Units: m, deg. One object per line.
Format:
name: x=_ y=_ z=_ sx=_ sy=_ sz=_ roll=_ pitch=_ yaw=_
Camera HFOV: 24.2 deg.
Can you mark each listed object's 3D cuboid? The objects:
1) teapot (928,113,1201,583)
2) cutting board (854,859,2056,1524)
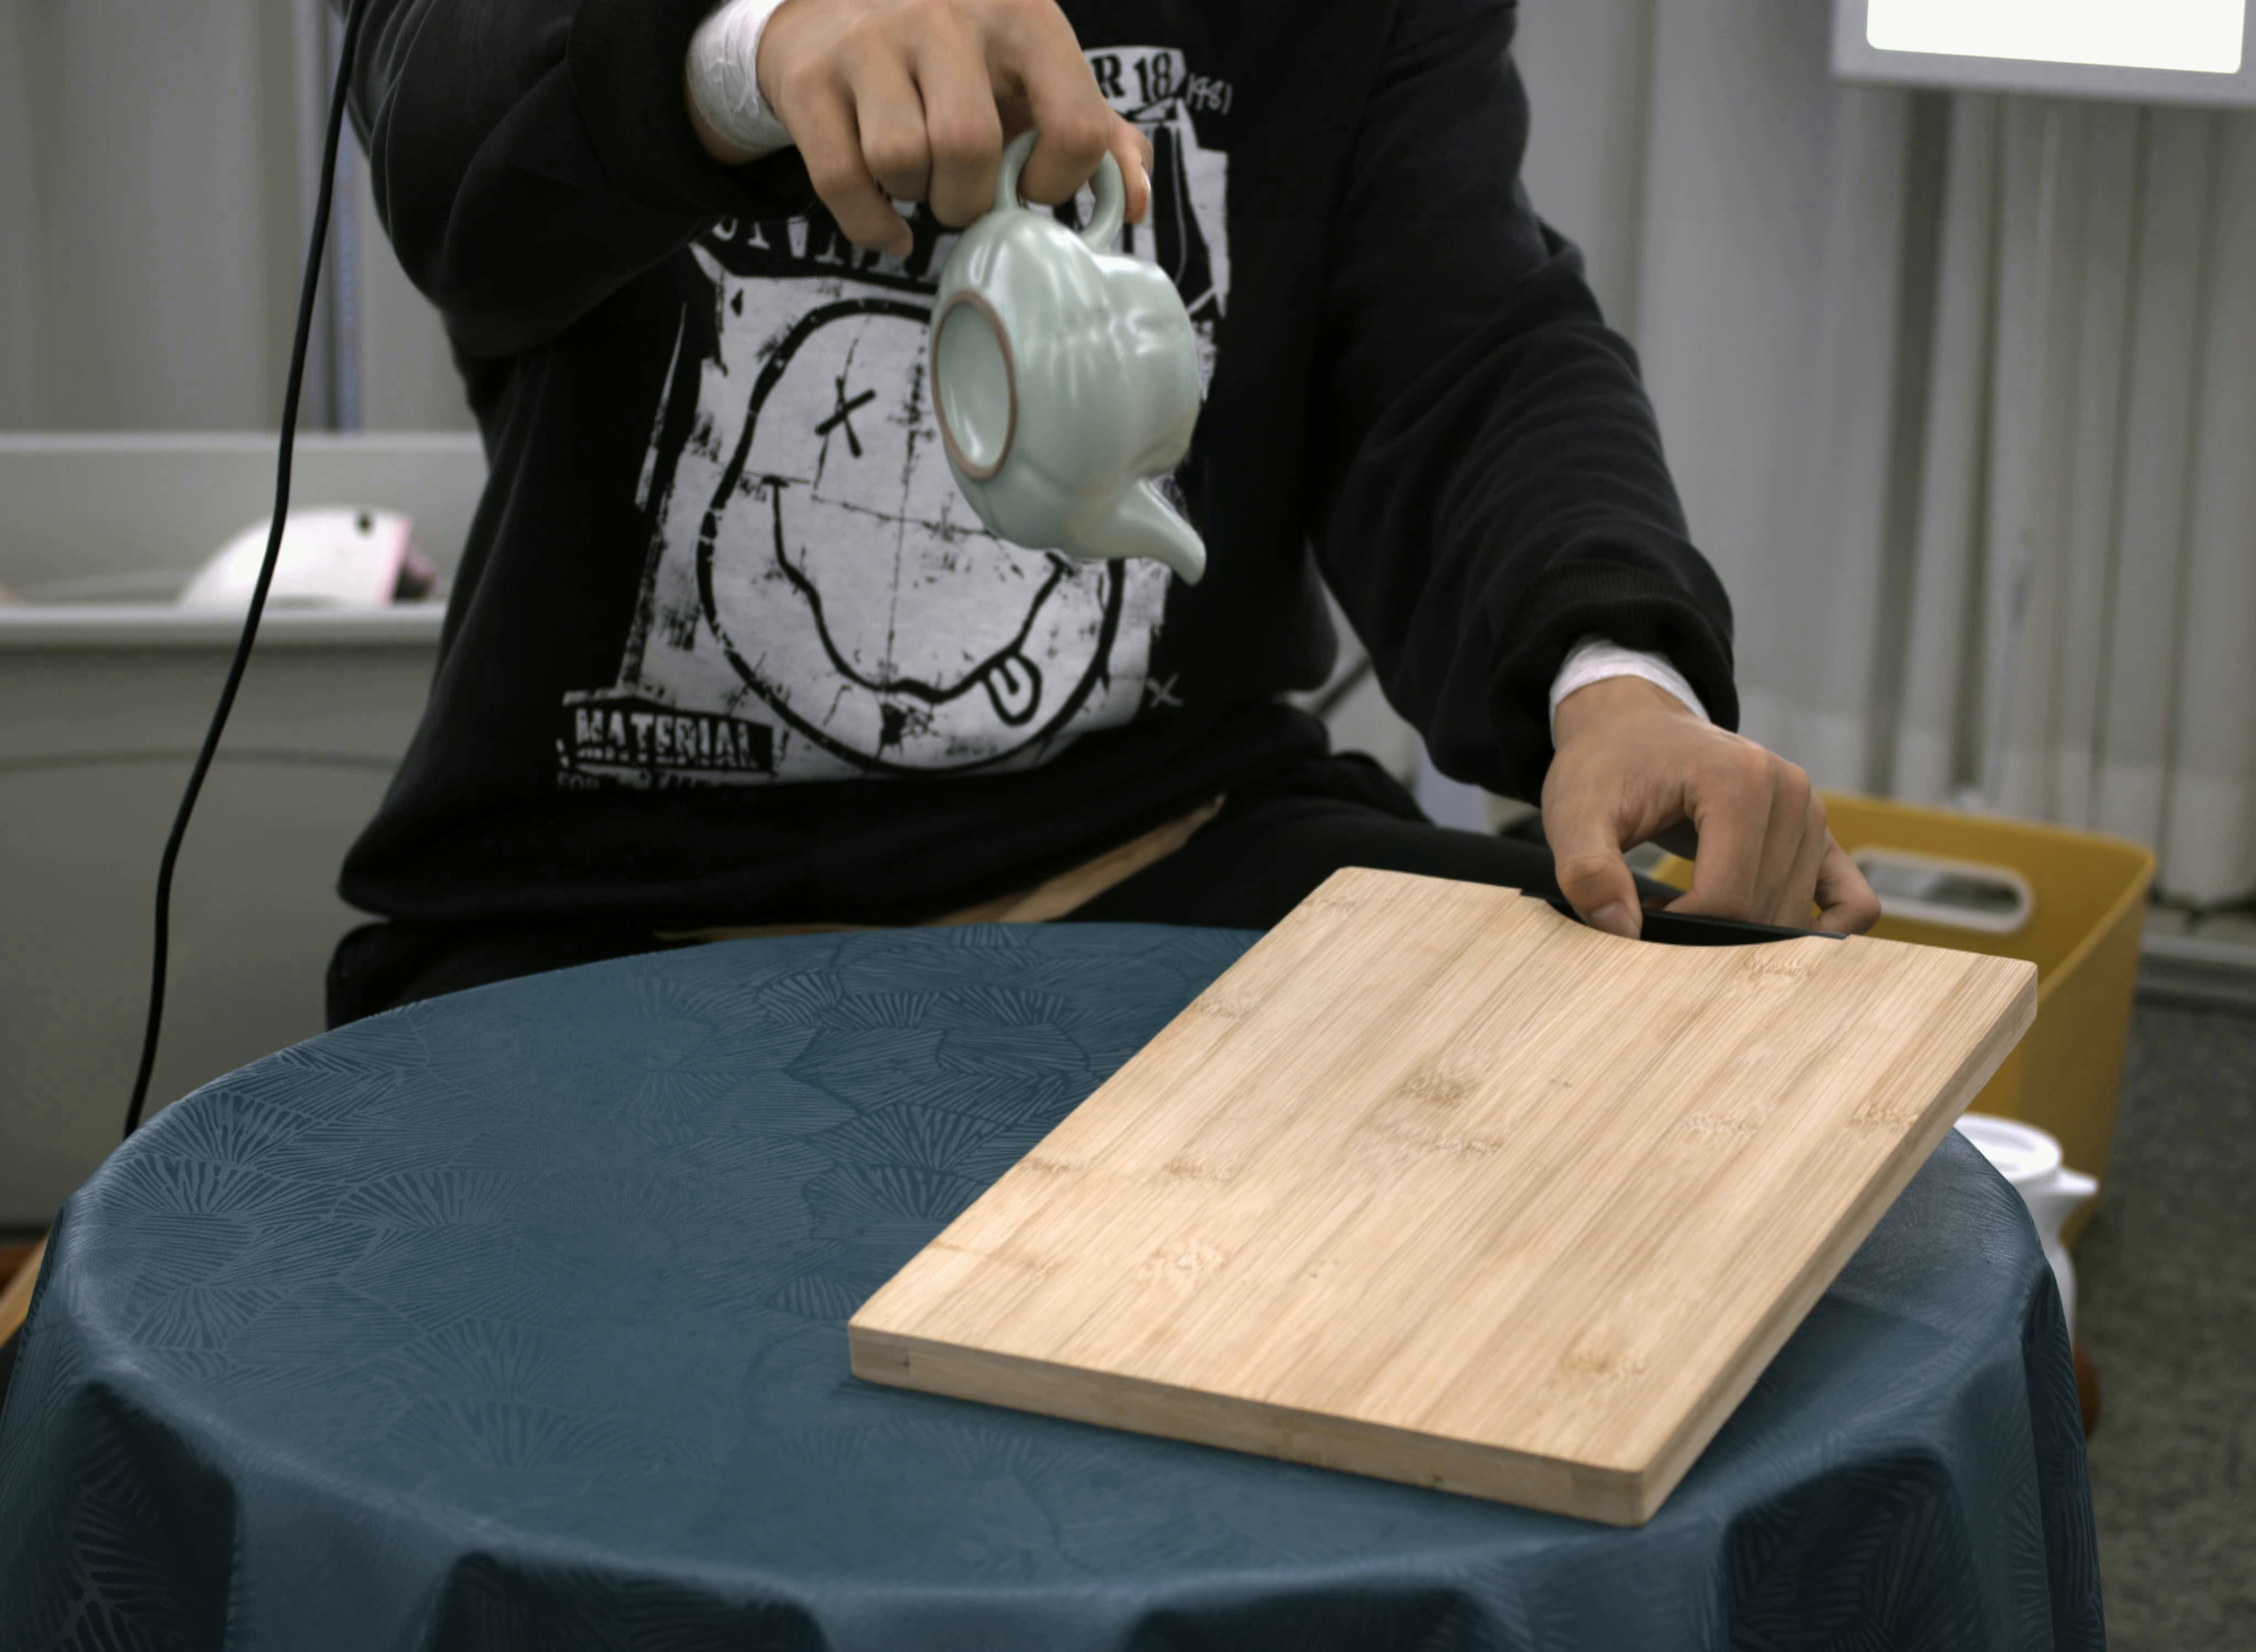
teapot: x=-0.019 y=-0.132 z=1.473 sx=0.061 sy=0.137 sz=0.096 roll=-9 pitch=-6 yaw=-26
cutting board: x=0.106 y=0.097 z=1.560 sx=0.248 sy=0.024 sz=0.348 roll=8 pitch=25 yaw=24
